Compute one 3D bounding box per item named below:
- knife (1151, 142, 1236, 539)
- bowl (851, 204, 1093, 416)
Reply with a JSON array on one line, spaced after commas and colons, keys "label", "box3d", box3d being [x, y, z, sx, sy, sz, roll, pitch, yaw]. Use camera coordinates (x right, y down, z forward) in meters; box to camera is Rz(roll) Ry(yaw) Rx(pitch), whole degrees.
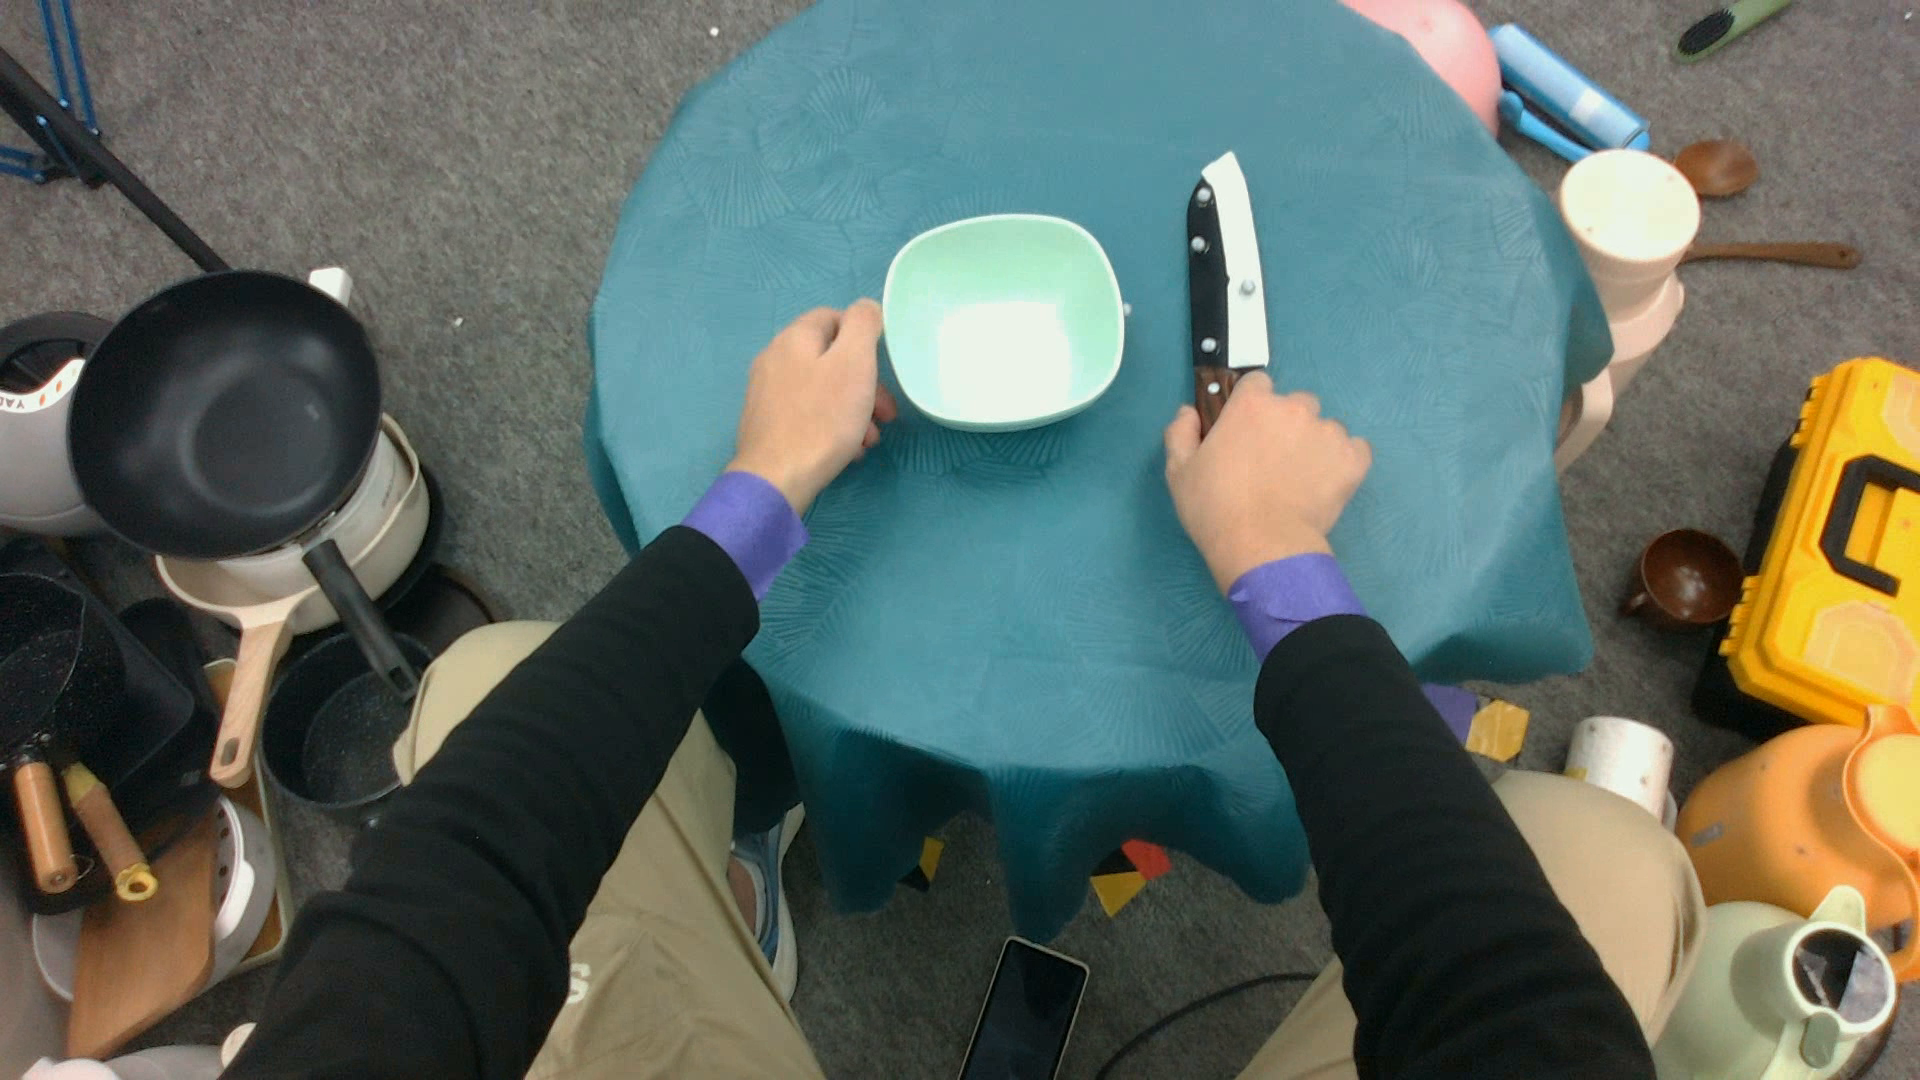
[{"label": "knife", "box3d": [0.142, -0.131, 0.835, 0.050, 0.020, 0.290, -1, 63, 10]}, {"label": "bowl", "box3d": [0.007, -0.126, 0.817, 0.151, 0.058, 0.152, 0, 65, 1]}]
